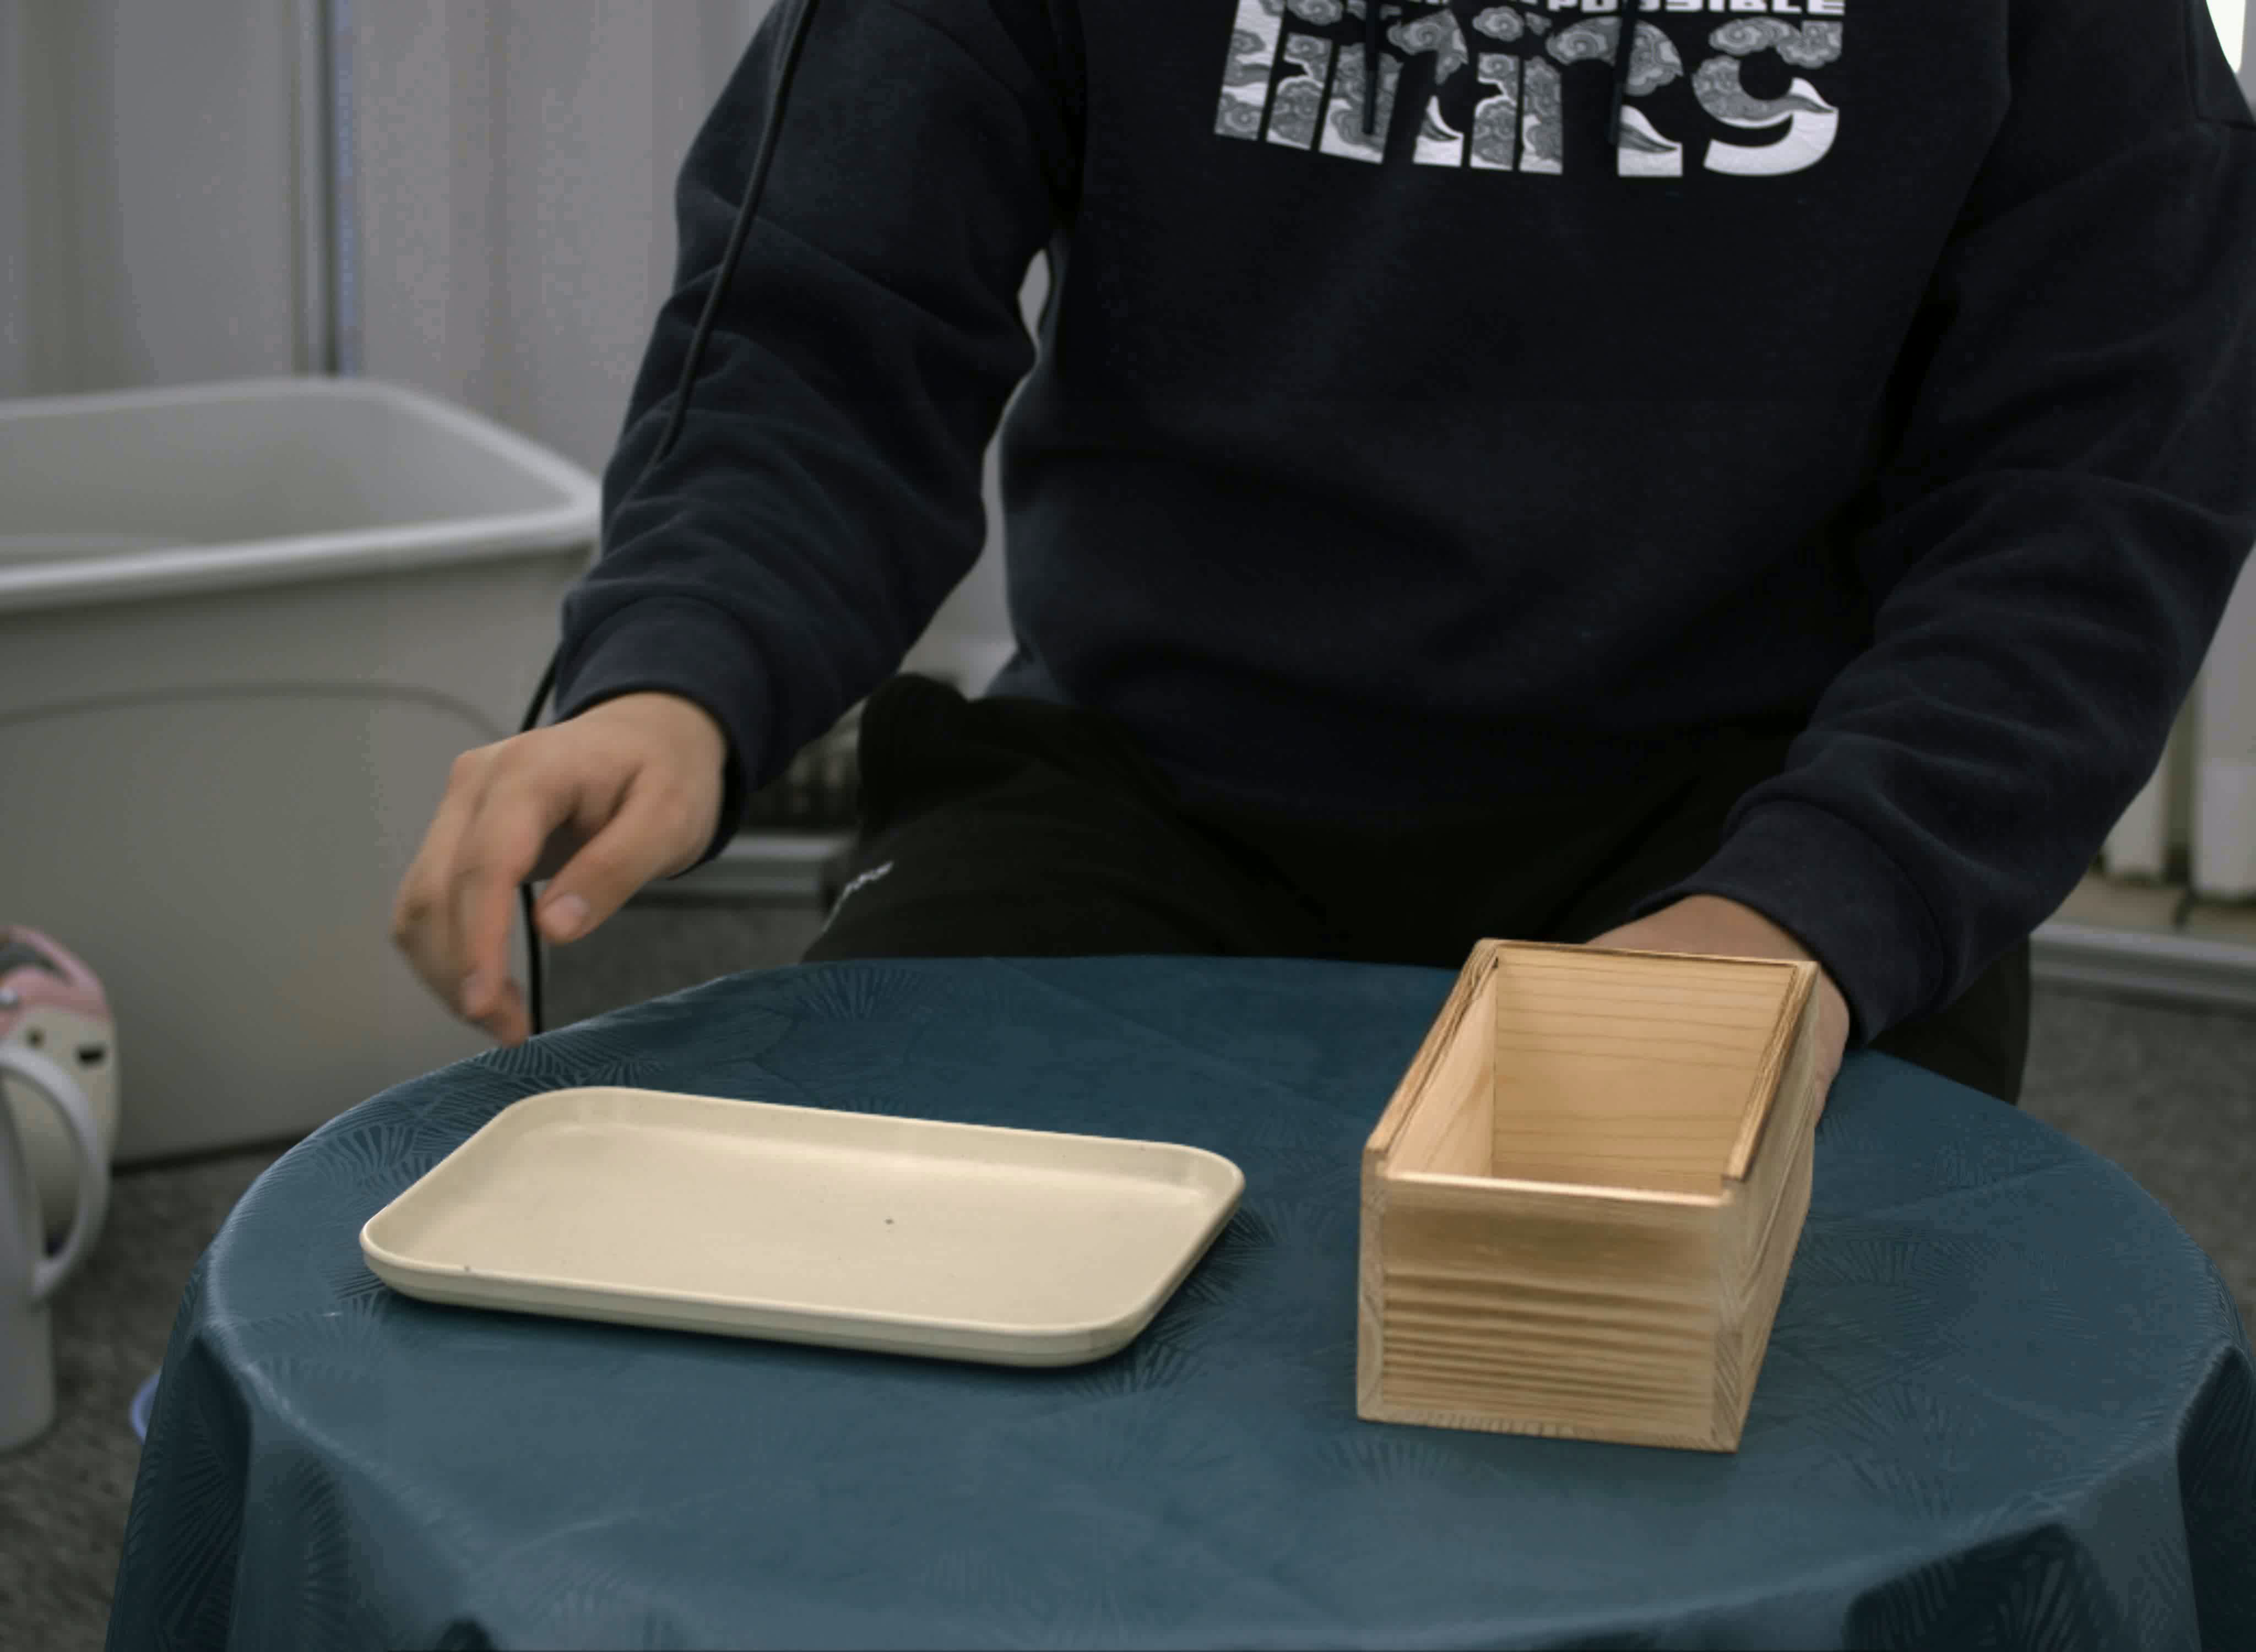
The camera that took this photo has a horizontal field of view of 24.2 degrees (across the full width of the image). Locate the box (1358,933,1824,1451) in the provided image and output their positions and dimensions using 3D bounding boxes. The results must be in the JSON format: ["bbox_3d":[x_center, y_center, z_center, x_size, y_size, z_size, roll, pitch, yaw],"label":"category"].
[{"bbox_3d":[0.137,0.101,1.523,0.107,0.081,0.211,4,16,11],"label":"box"}]

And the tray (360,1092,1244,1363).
[{"bbox_3d":[-0.094,0.119,1.565,0.238,0.017,0.171,5,15,14],"label":"tray"}]
